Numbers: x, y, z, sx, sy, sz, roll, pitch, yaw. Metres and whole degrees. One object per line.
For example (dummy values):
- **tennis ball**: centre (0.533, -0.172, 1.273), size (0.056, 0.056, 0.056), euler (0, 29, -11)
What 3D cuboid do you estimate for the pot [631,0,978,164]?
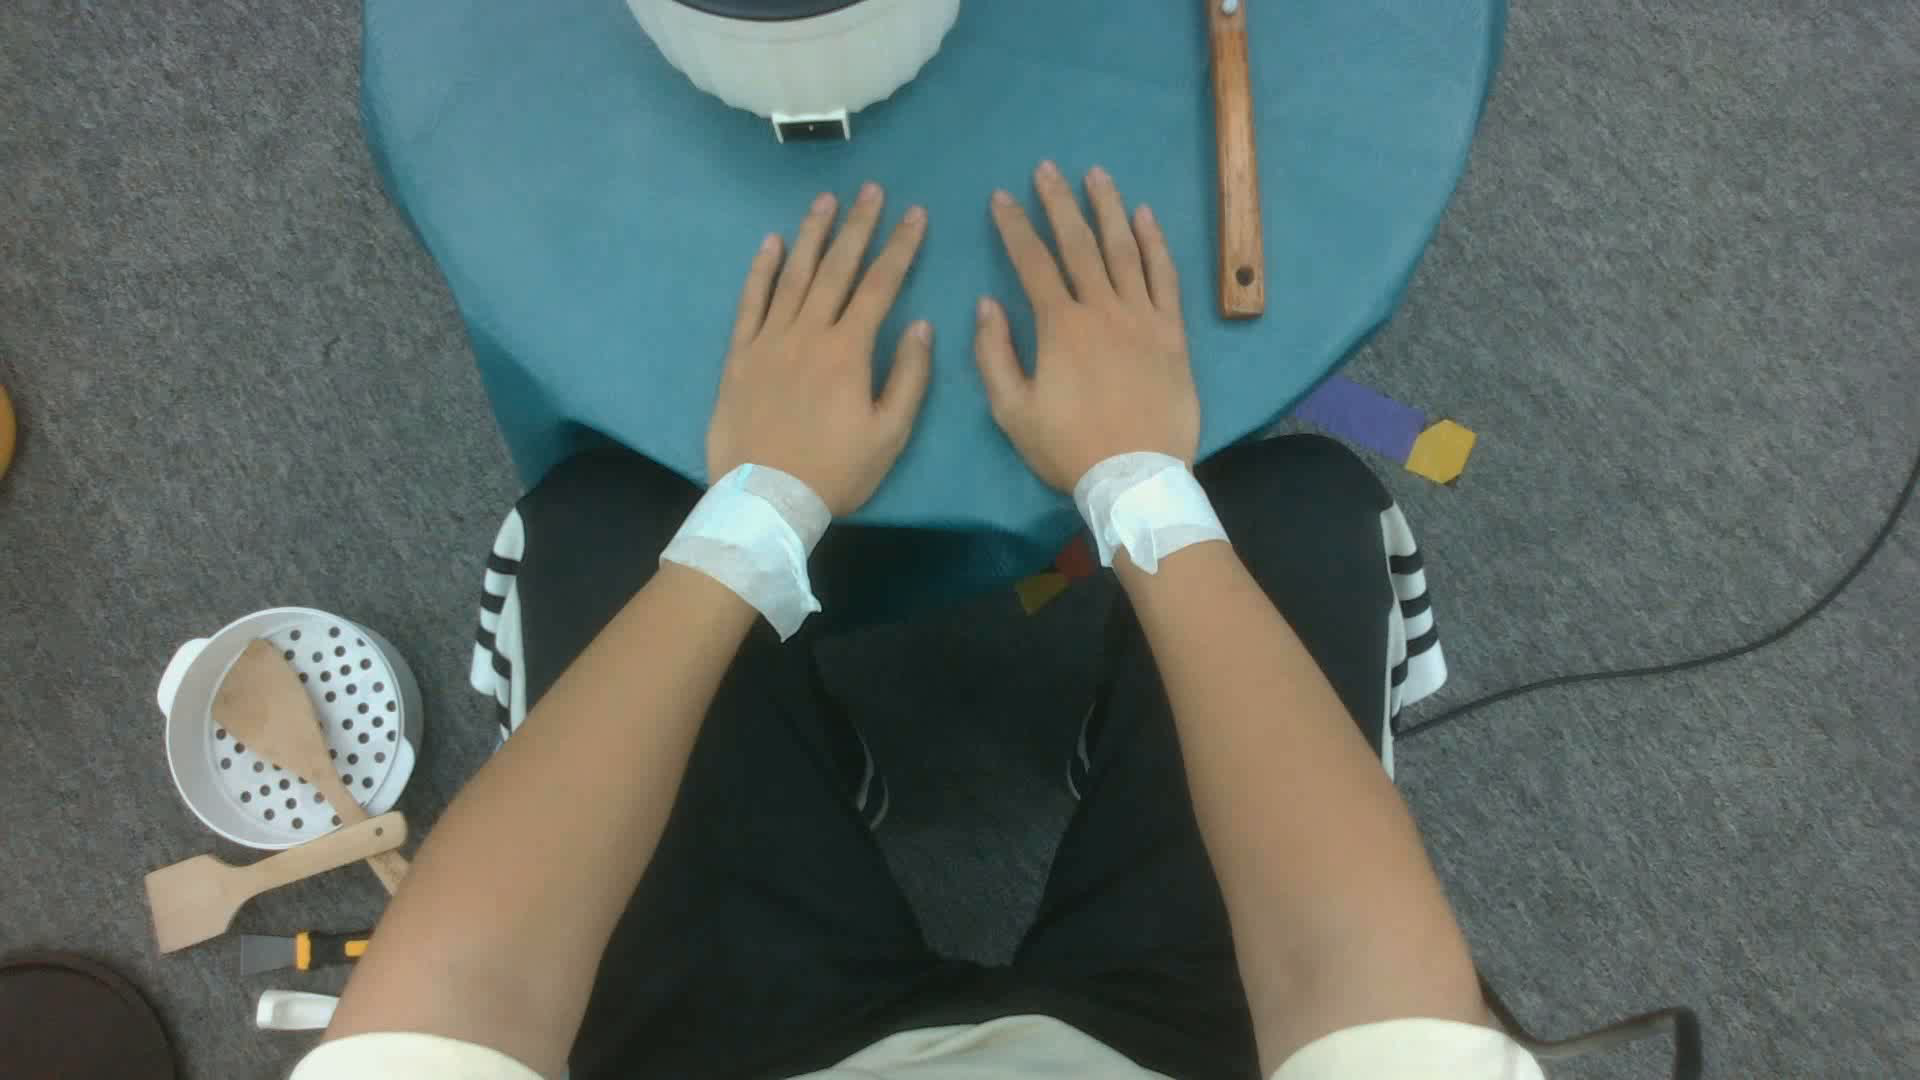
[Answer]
- **pot**: centre (-0.079, -0.300, 0.680), size (0.240, 0.142, 0.190), euler (-4, 85, -1)

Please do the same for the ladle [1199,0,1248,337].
- **ladle**: centre (0.144, -0.246, 0.703), size (0.082, 0.076, 0.274), euler (1, 81, -3)
